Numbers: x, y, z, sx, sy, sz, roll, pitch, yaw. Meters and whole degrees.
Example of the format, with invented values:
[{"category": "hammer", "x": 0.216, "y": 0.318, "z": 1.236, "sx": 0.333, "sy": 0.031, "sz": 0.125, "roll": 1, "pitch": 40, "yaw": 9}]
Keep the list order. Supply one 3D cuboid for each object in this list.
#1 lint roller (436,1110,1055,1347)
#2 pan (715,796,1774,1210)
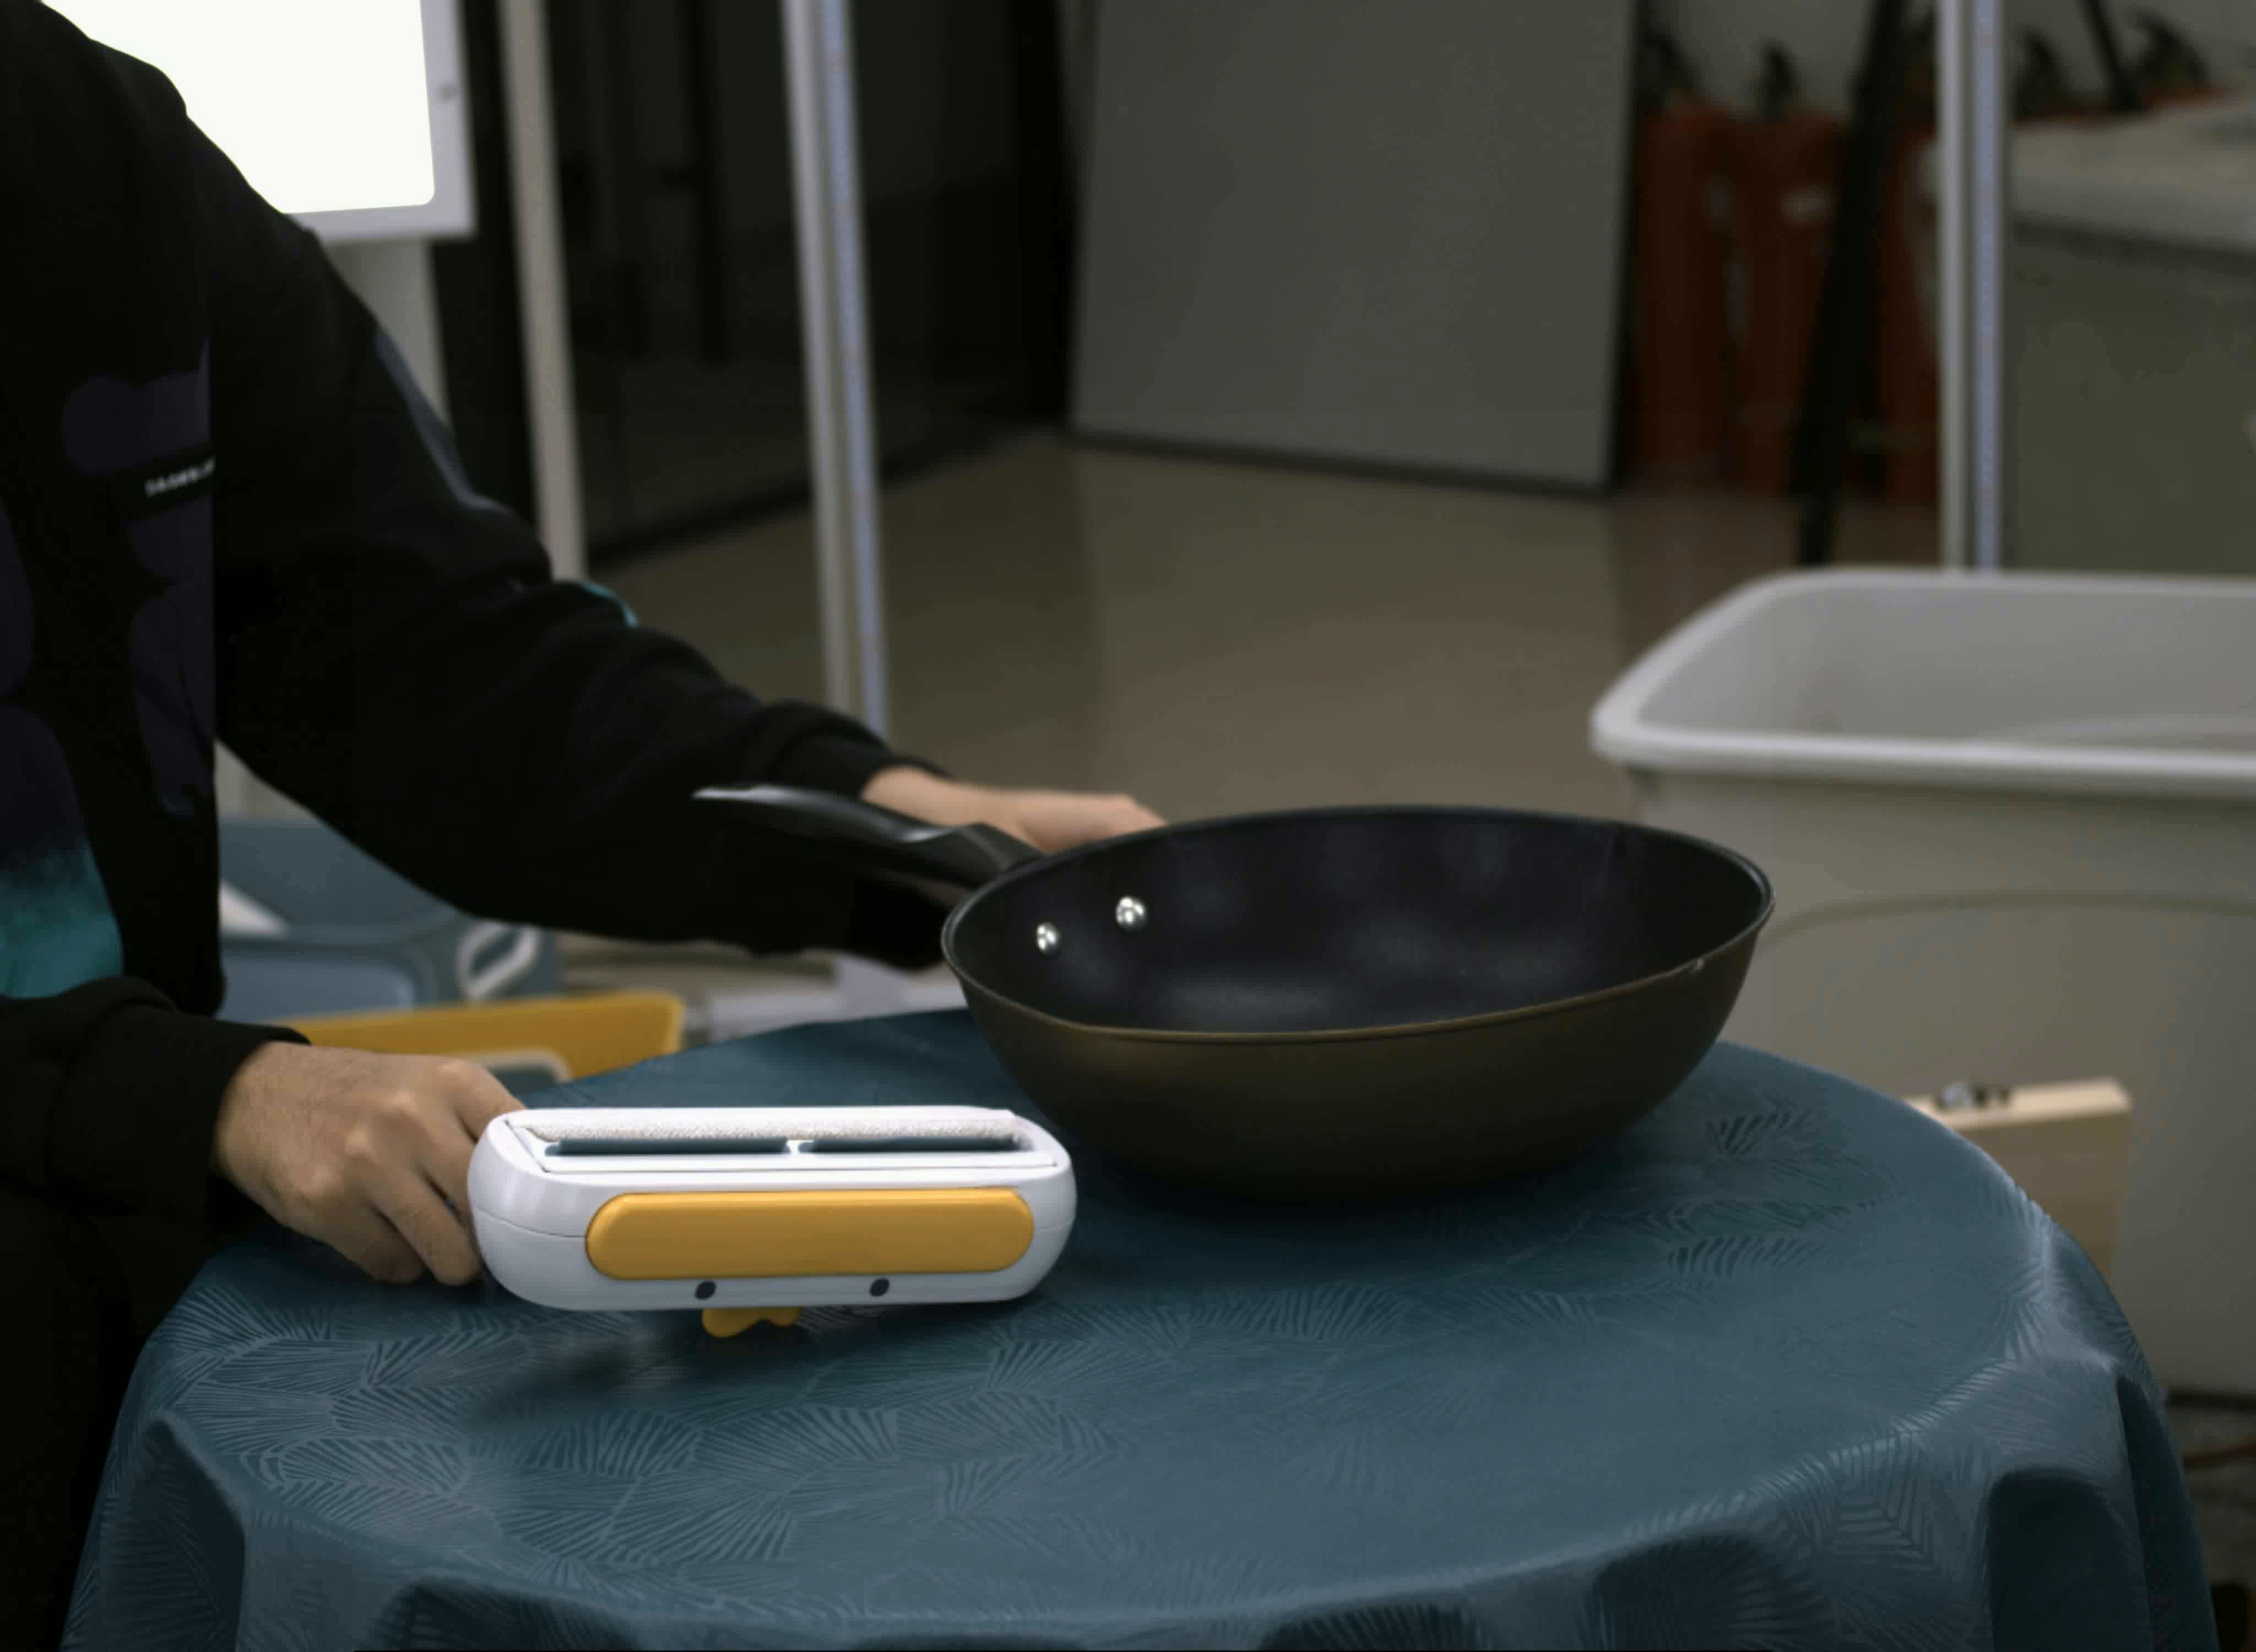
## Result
[{"category": "lint roller", "x": -0.135, "y": 0.114, "z": 1.702, "sx": 0.189, "sy": 0.075, "sz": 0.194, "roll": -3, "pitch": 11, "yaw": -20}, {"category": "pan", "x": 0.013, "y": 0.055, "z": 1.862, "sx": 0.467, "sy": 0.088, "sz": 0.282, "roll": 9, "pitch": 19, "yaw": 44}]
